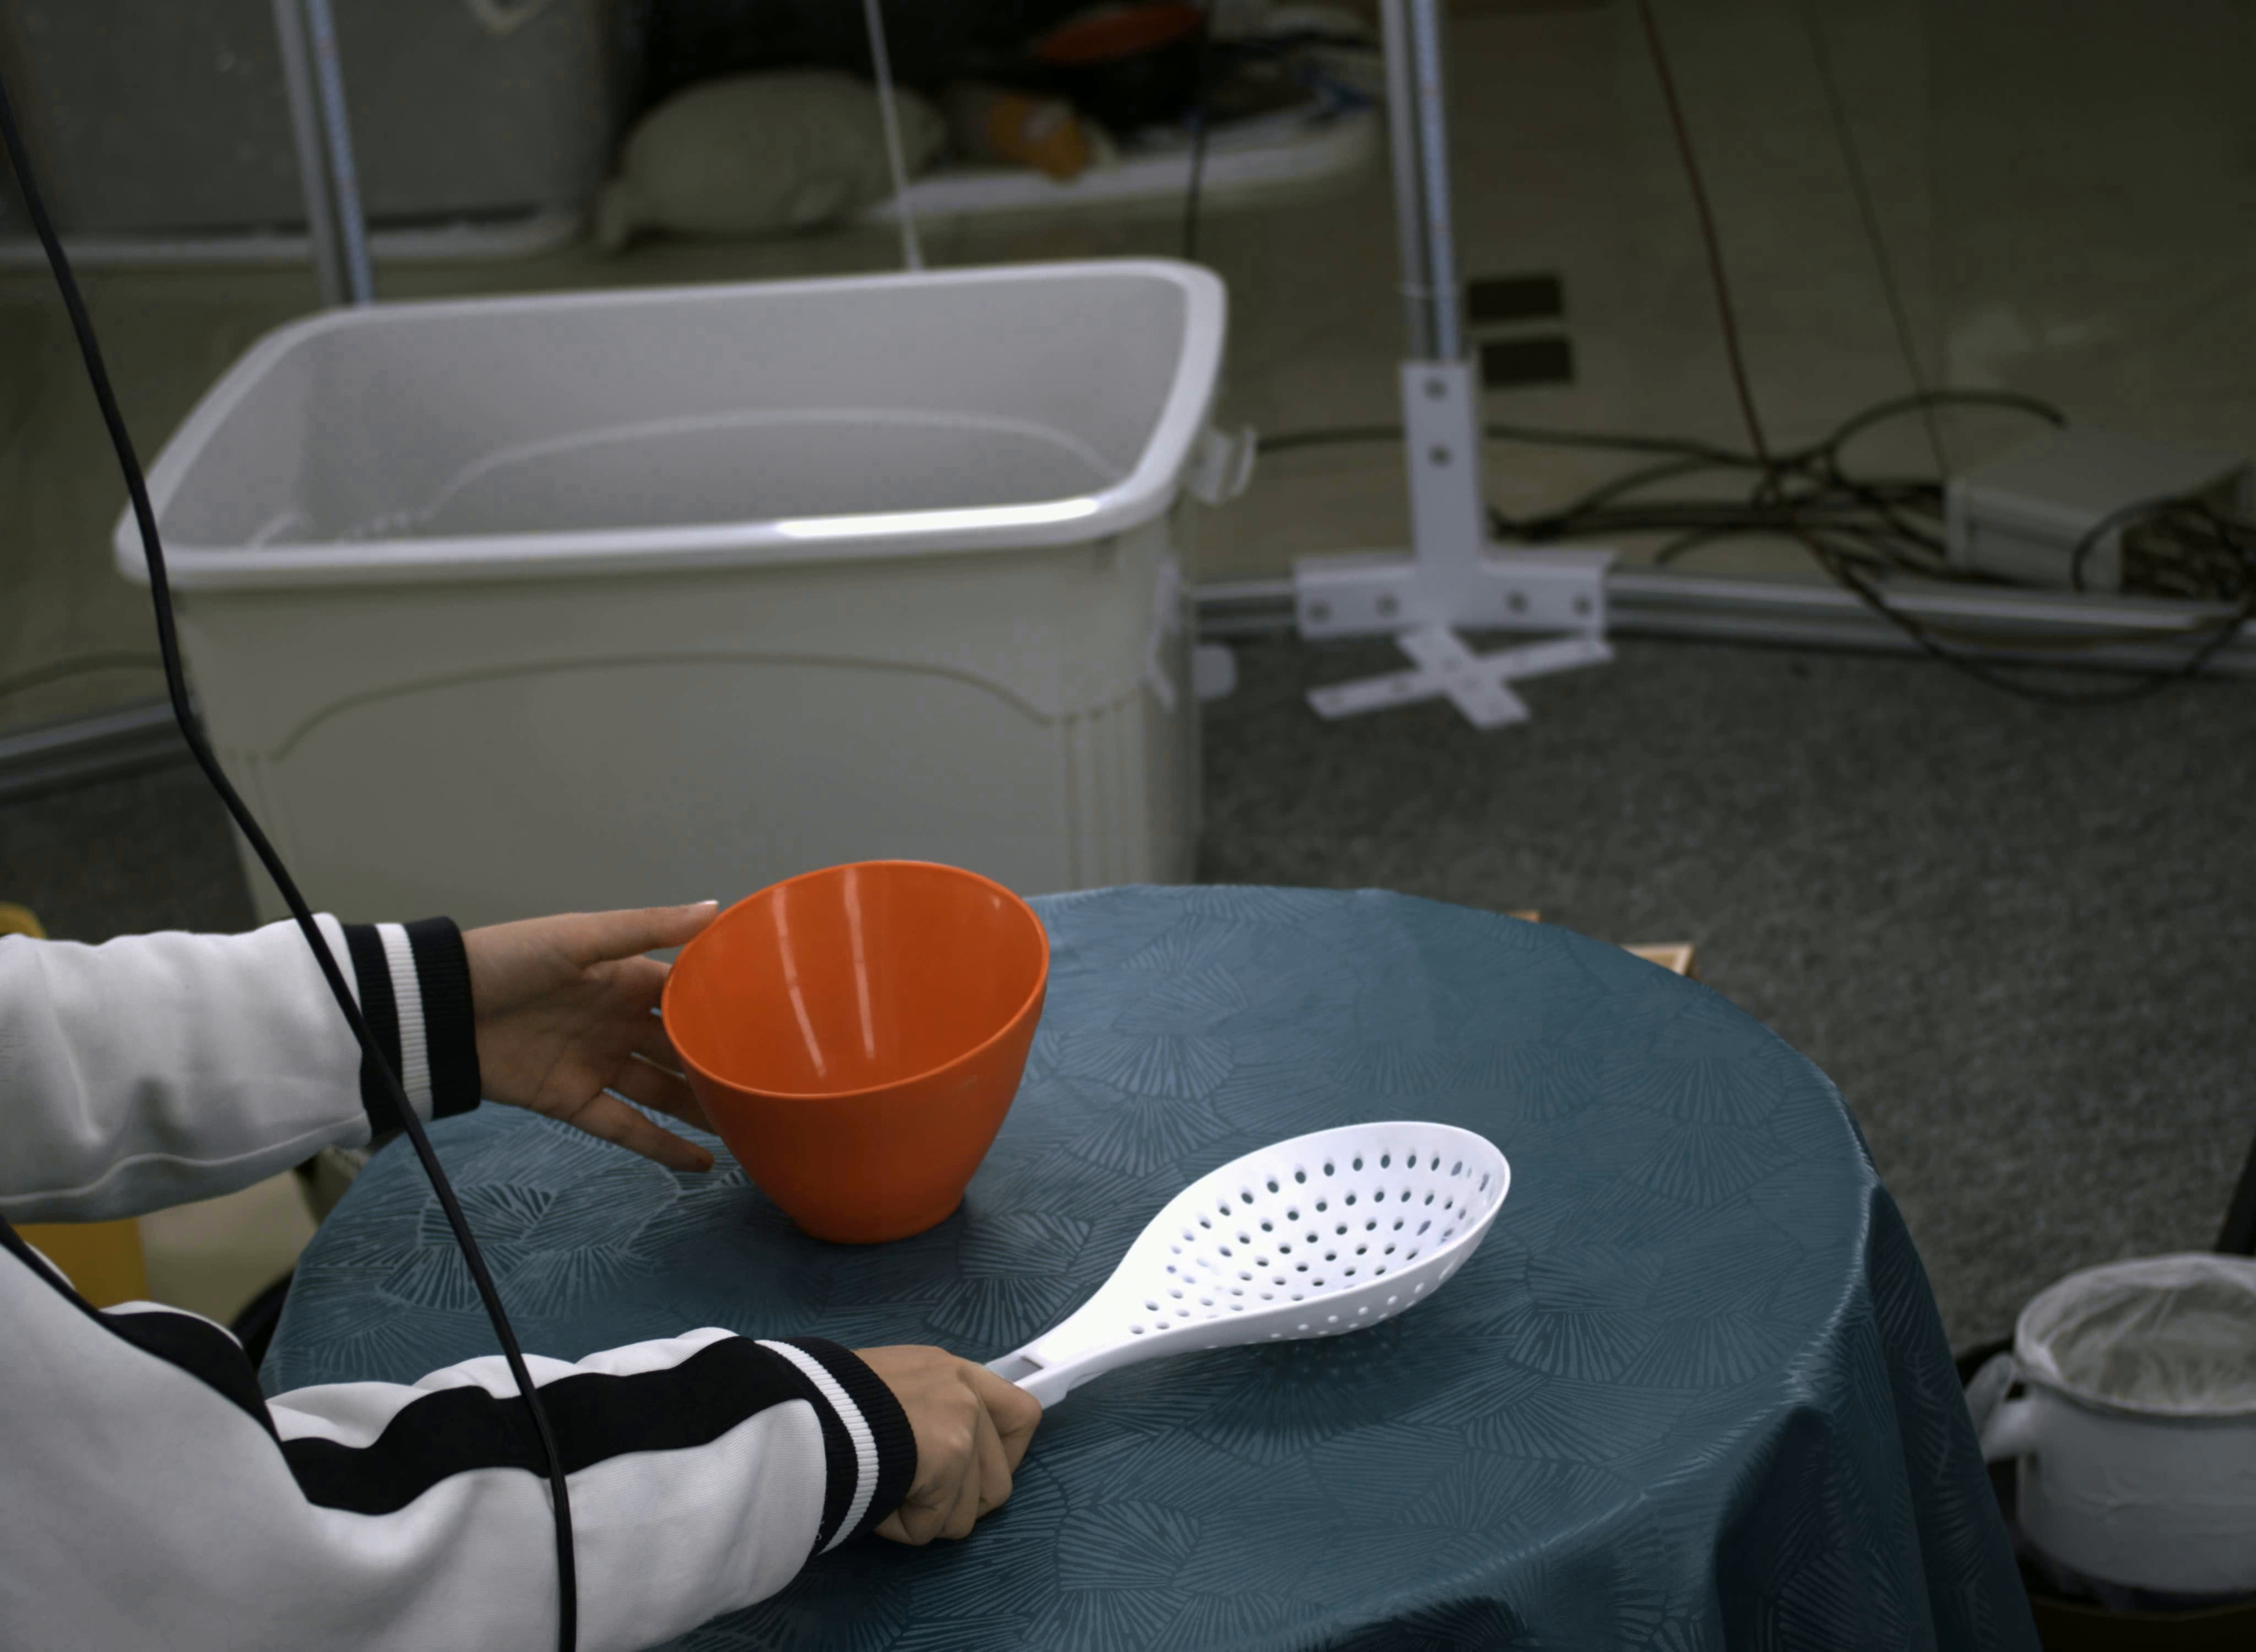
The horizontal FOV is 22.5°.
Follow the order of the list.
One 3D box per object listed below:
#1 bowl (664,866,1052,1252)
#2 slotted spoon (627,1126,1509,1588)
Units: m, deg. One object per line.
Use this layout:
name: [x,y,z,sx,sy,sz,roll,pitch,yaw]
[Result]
bowl: [-0.098,0.095,2.148,0.148,0.106,0.146,-4,27,2]
slotted spoon: [-0.019,0.186,1.997,0.348,0.046,0.135,-19,20,-24]
